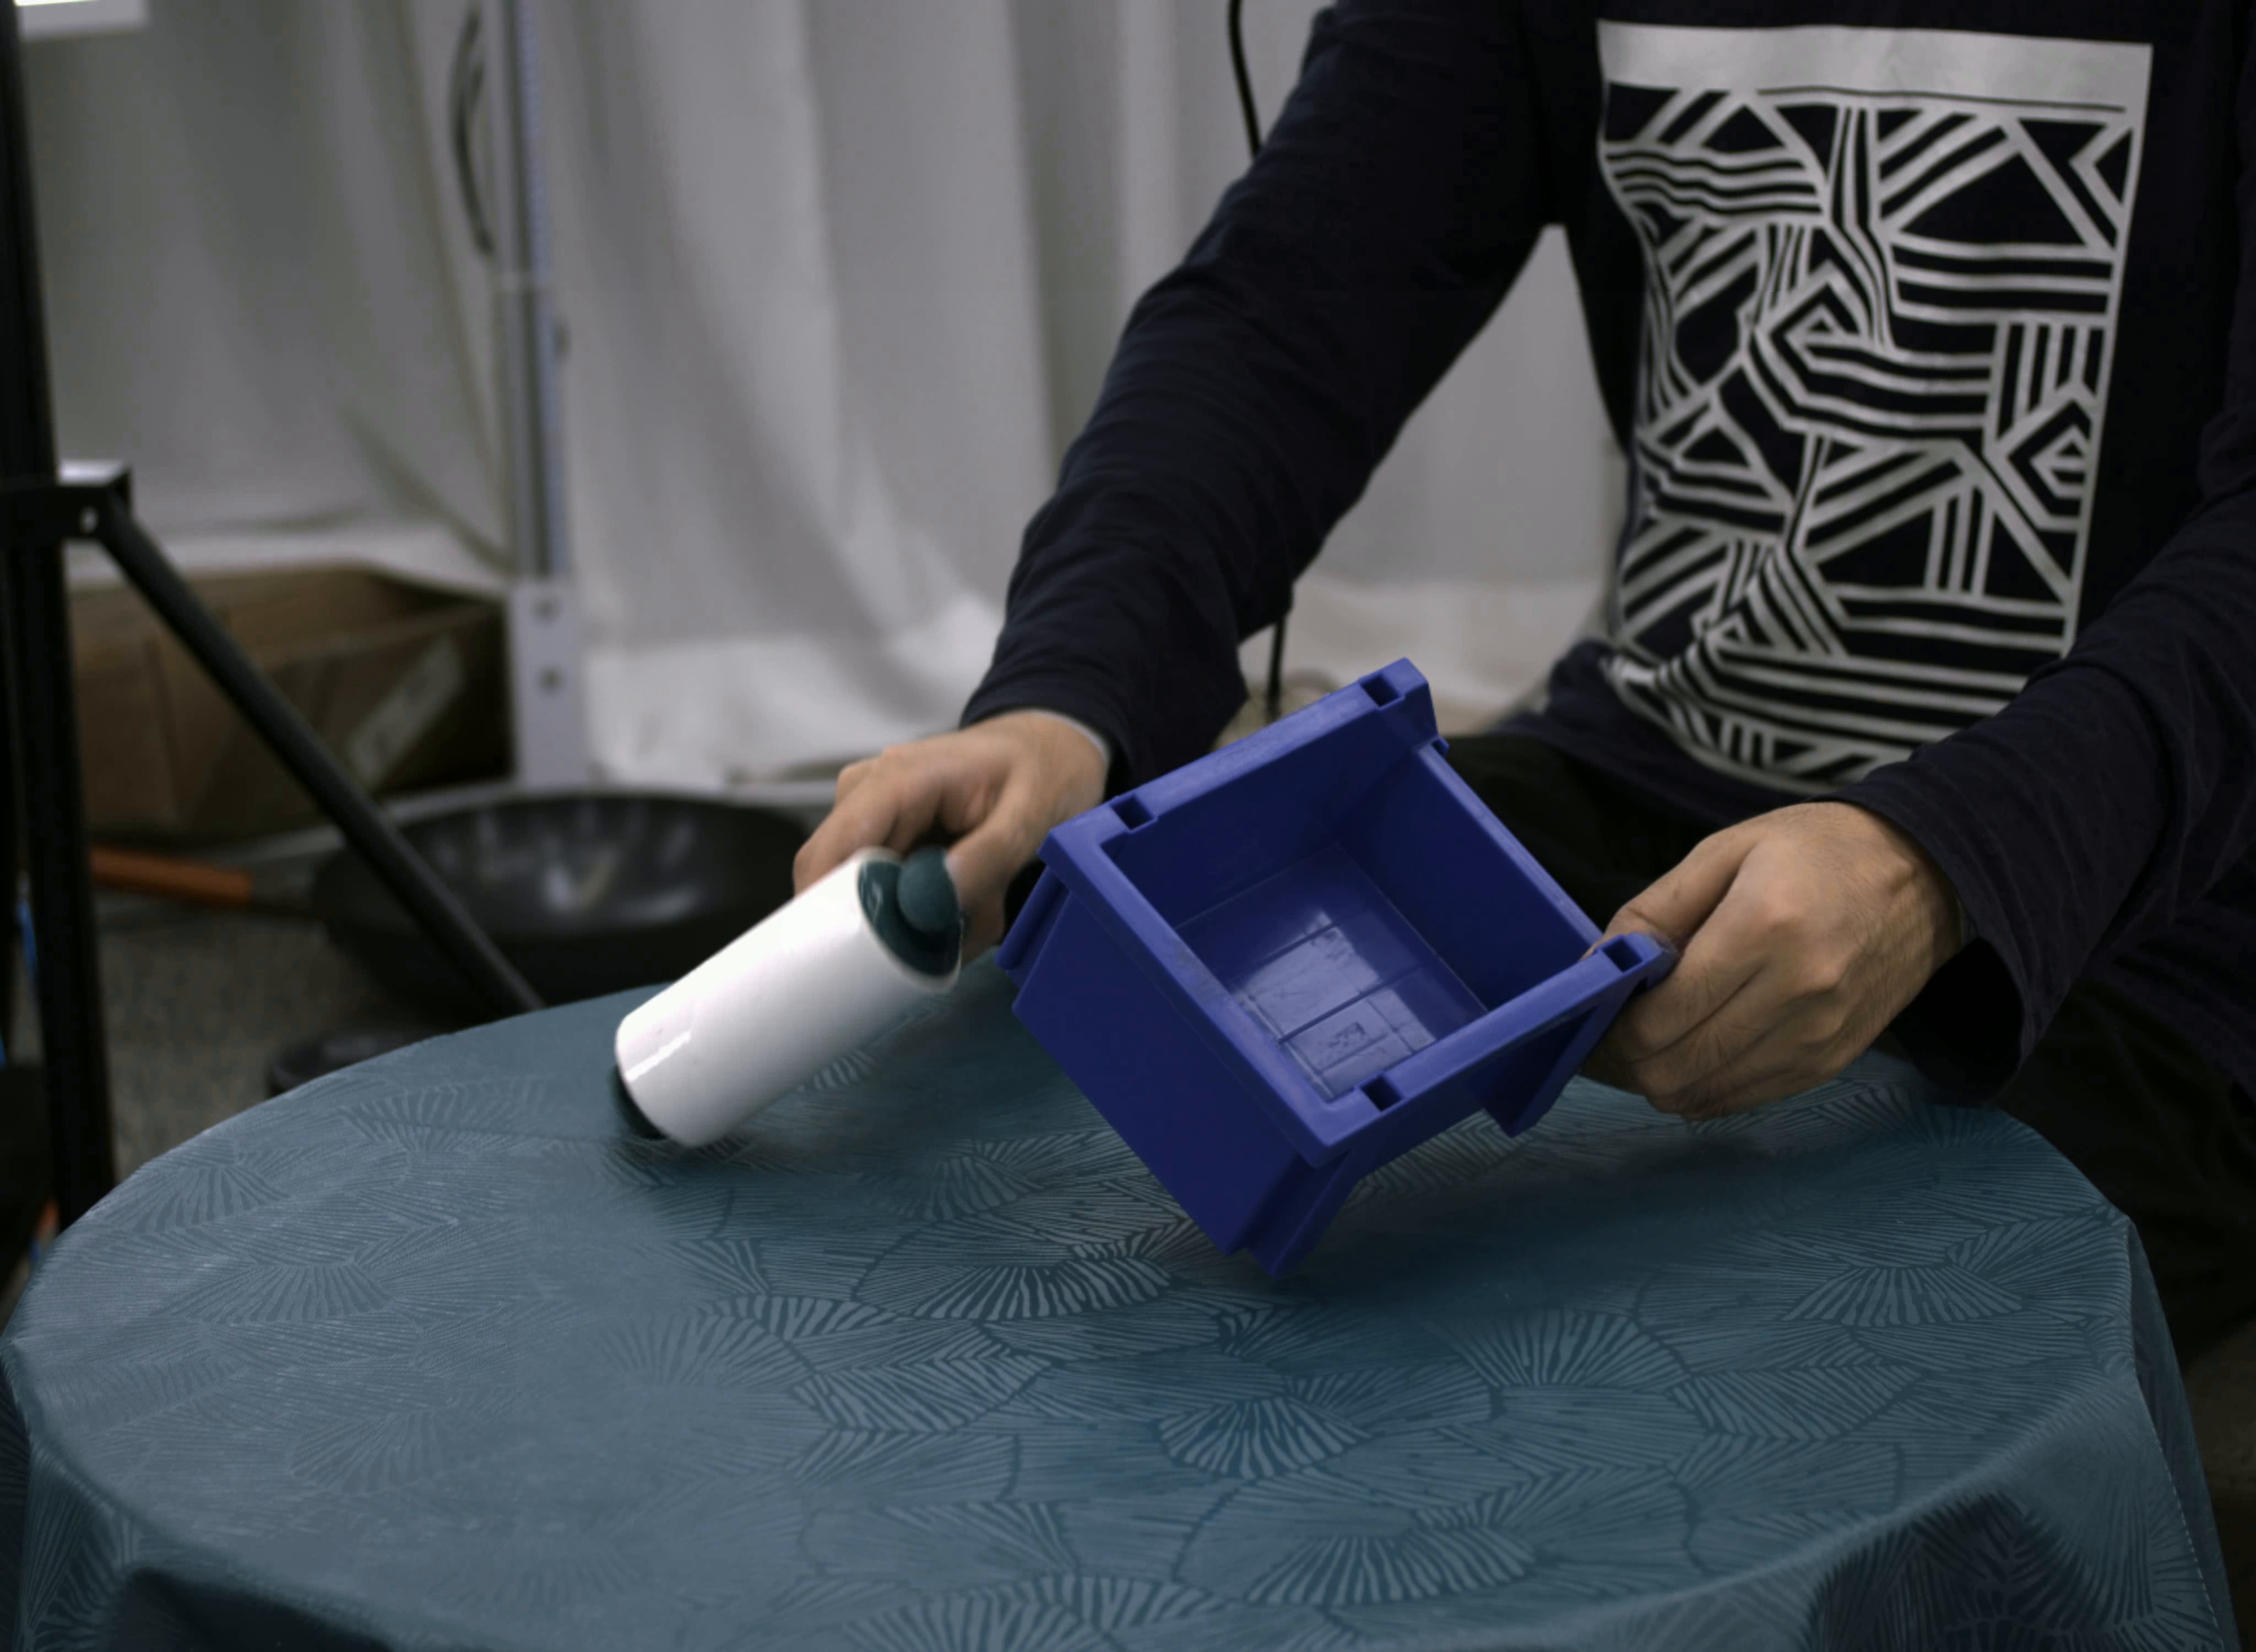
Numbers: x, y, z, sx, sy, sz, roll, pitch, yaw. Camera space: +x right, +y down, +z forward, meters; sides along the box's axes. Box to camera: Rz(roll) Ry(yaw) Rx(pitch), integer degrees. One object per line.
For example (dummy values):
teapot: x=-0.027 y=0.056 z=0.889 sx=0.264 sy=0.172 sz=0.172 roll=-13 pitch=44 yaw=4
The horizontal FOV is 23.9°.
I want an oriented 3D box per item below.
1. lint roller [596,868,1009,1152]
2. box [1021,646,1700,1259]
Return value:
lint roller: x=-0.083 y=0.032 z=1.648 sx=0.136 sy=0.048 sz=0.178 roll=-30 pitch=9 yaw=27
box: x=0.069 y=0.032 z=1.525 sx=0.176 sy=0.082 sz=0.126 roll=-25 pitch=64 yaw=-35
